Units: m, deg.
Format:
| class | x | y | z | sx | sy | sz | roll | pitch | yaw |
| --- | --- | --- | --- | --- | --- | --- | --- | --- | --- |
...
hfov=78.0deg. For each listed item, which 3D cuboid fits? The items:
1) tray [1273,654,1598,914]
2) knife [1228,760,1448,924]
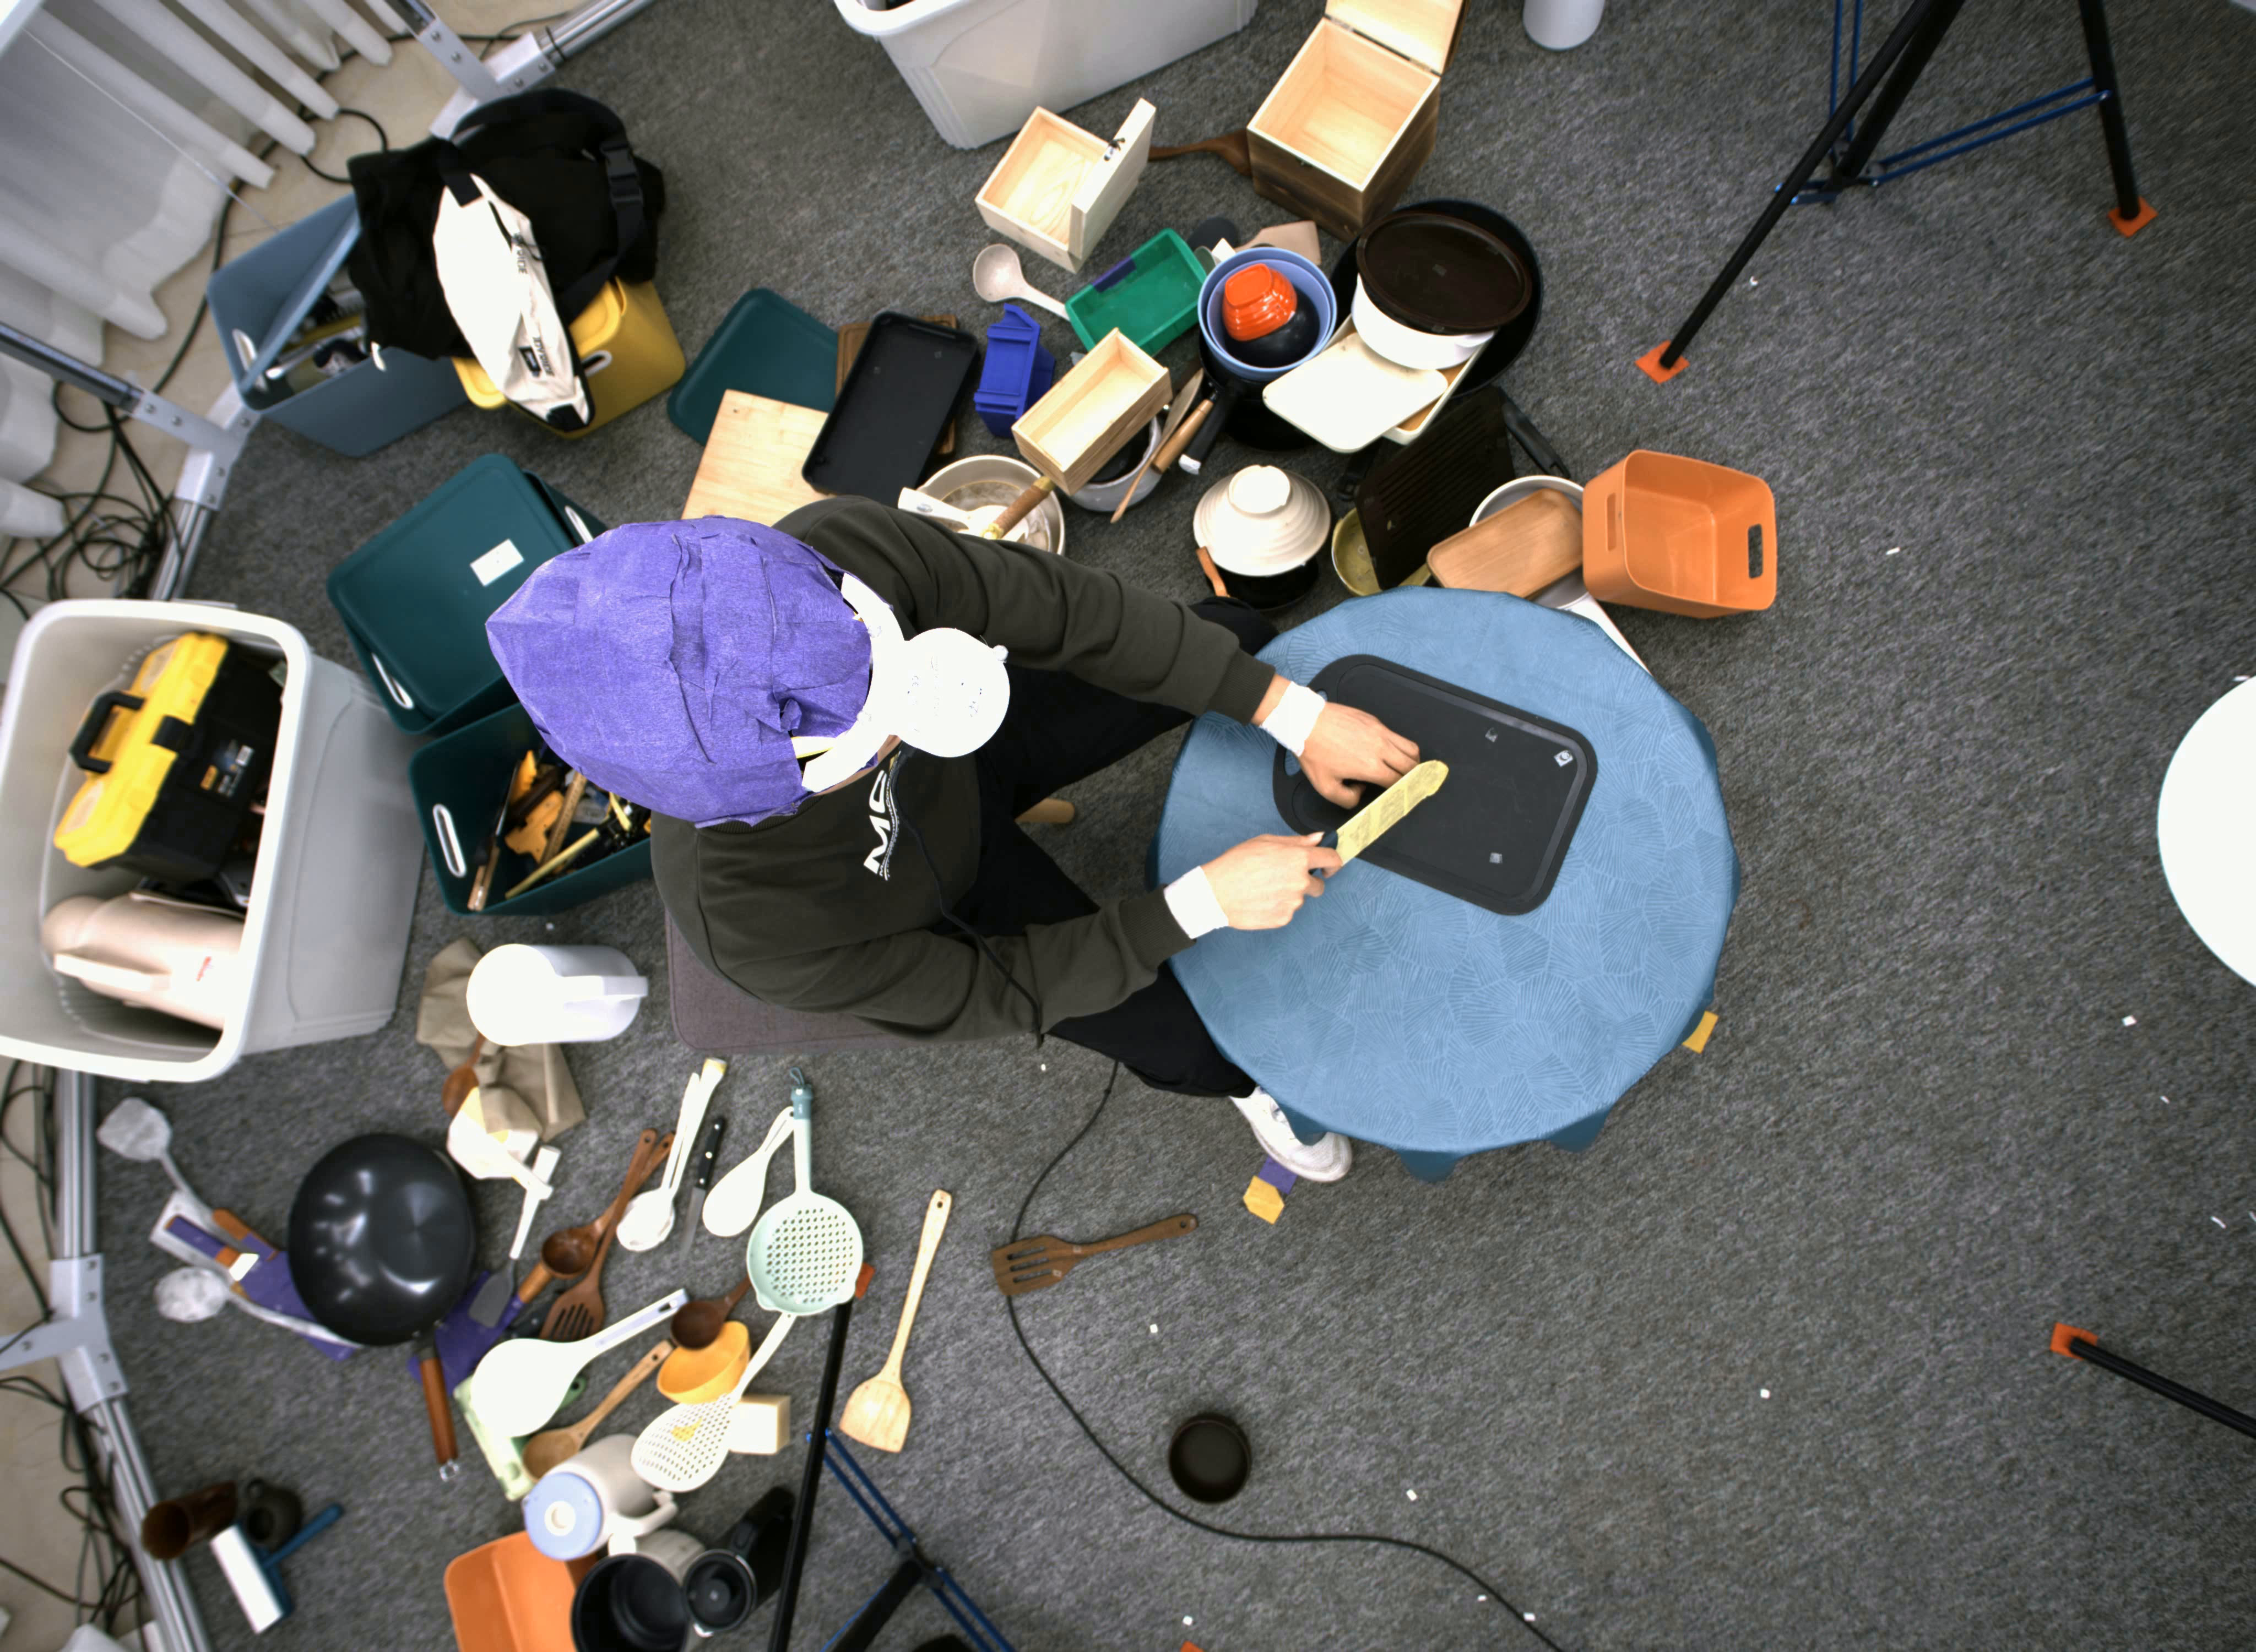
| class | x | y | z | sx | sy | sz | roll | pitch | yaw |
| --- | --- | --- | --- | --- | --- | --- | --- | --- | --- |
| tray | 0.316 | -0.051 | 1.454 | 0.325 | 0.010 | 0.211 | 22 | 91 | 11 |
| knife | 0.219 | 0.016 | 1.404 | 0.287 | 0.083 | 0.027 | -34 | 56 | -12 |
